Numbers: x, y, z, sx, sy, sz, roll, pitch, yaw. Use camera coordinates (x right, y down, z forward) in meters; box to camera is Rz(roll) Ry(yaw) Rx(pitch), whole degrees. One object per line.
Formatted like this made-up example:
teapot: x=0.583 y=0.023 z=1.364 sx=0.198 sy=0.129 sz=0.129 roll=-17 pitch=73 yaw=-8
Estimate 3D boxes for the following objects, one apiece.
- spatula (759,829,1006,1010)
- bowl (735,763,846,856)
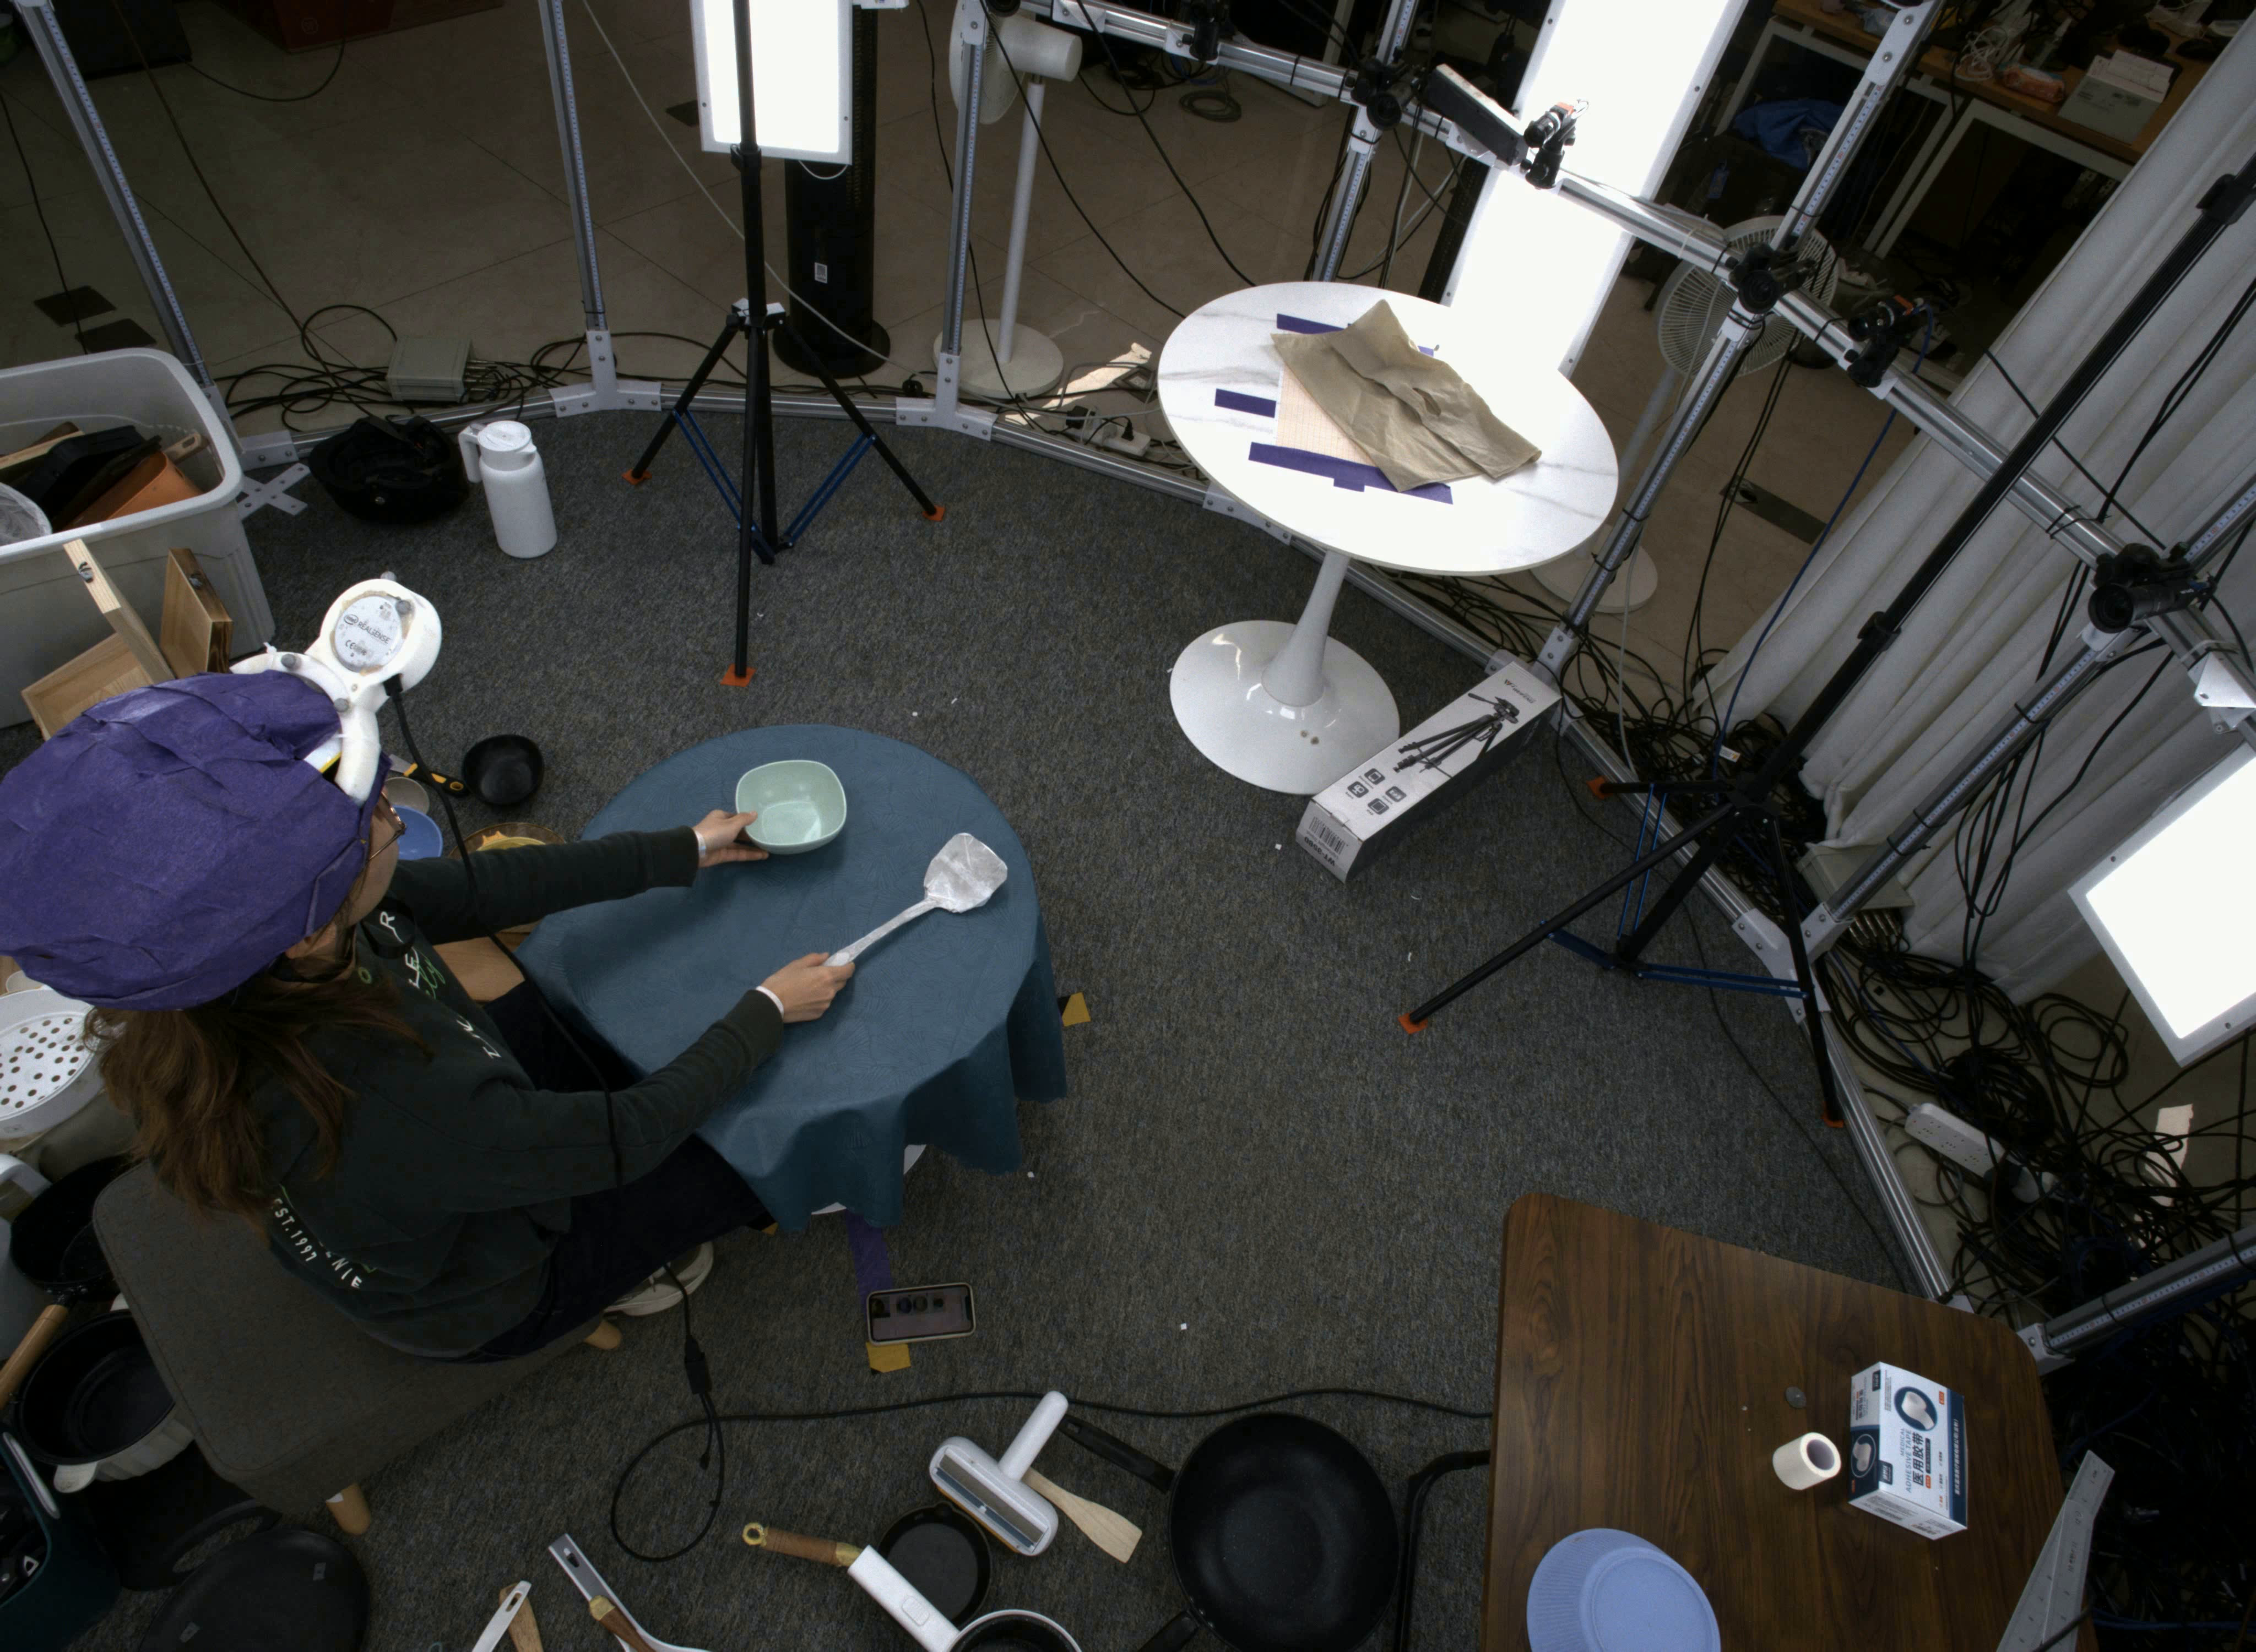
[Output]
spatula: x=-0.309 y=0.123 z=1.637 sx=0.096 sy=0.045 sz=0.366 roll=42 pitch=53 yaw=18
bowl: x=-0.442 y=-0.014 z=1.699 sx=0.151 sy=0.060 sz=0.148 roll=8 pitch=49 yaw=-8
